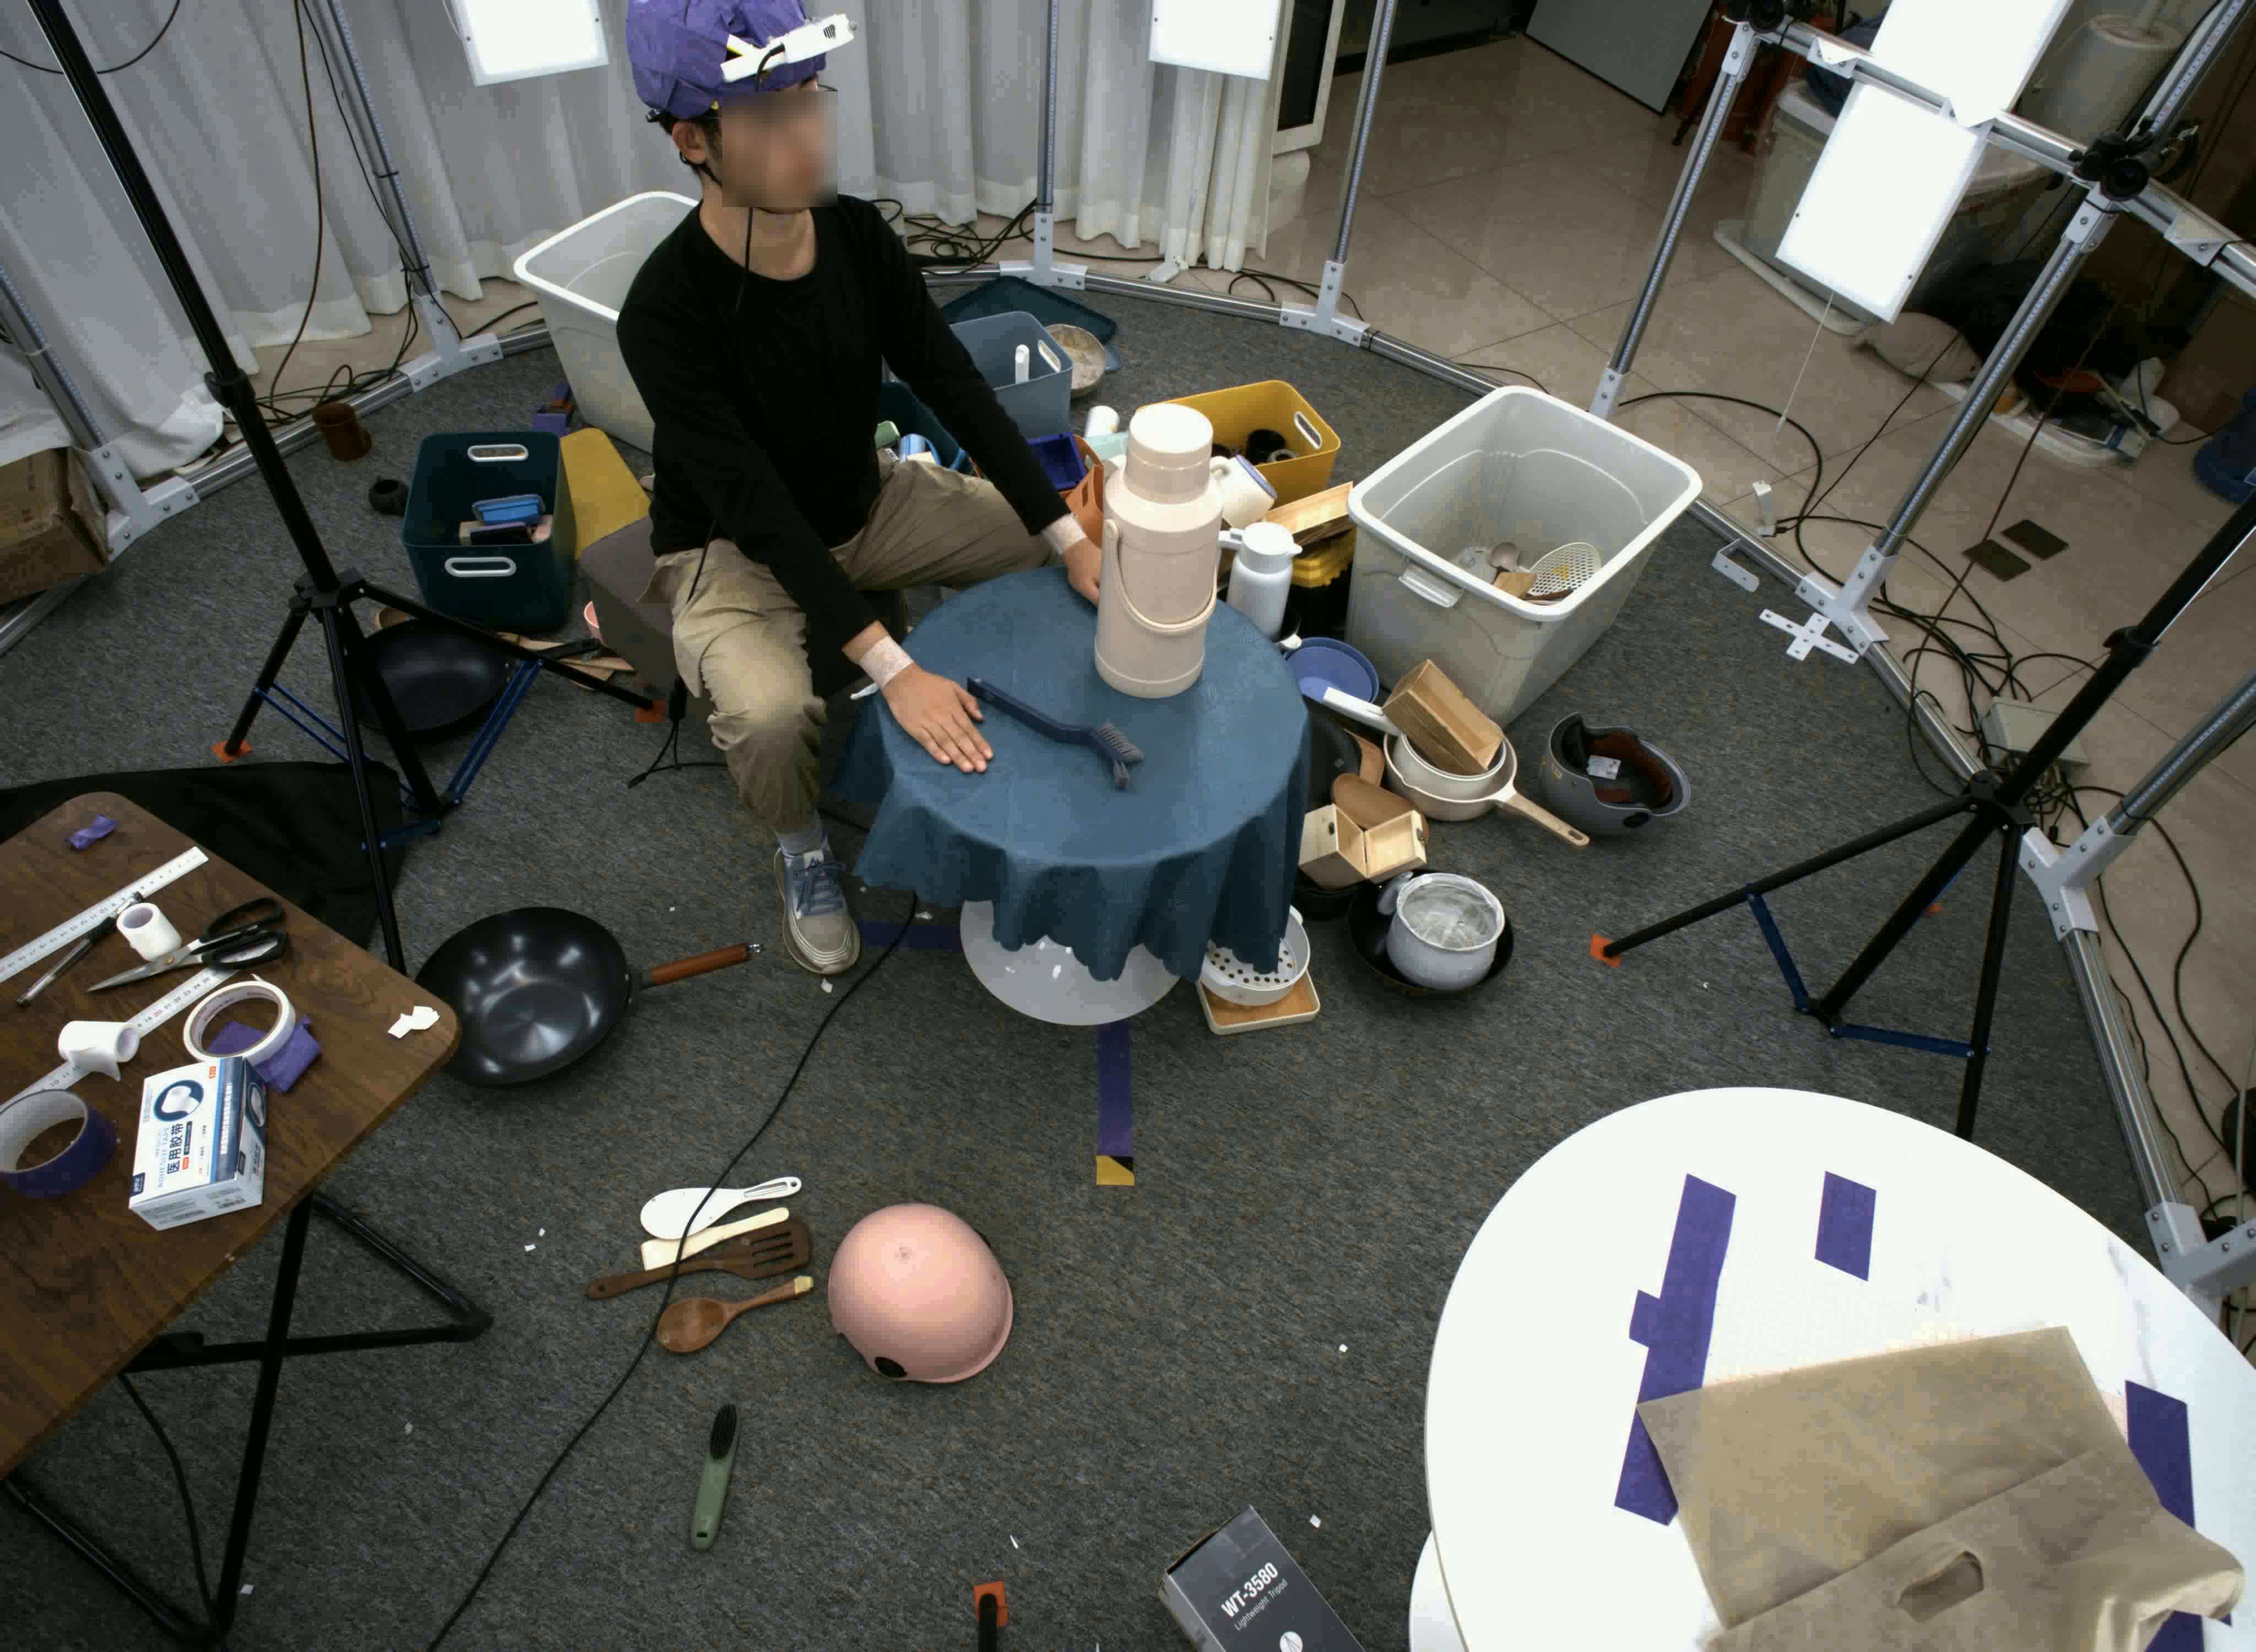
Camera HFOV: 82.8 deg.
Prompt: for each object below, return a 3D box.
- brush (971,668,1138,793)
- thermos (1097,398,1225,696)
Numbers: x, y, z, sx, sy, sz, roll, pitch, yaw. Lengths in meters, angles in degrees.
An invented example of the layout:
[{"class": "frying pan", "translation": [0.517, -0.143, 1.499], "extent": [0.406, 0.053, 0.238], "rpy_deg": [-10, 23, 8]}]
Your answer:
[{"class": "brush", "translation": [-0.112, -0.135, 1.758], "extent": [0.275, 0.033, 0.097], "rpy_deg": [24, 51, 13]}, {"class": "thermos", "translation": [0.036, -0.379, 1.746], "extent": [0.176, 0.396, 0.211], "rpy_deg": [-29, 58, -24]}]
